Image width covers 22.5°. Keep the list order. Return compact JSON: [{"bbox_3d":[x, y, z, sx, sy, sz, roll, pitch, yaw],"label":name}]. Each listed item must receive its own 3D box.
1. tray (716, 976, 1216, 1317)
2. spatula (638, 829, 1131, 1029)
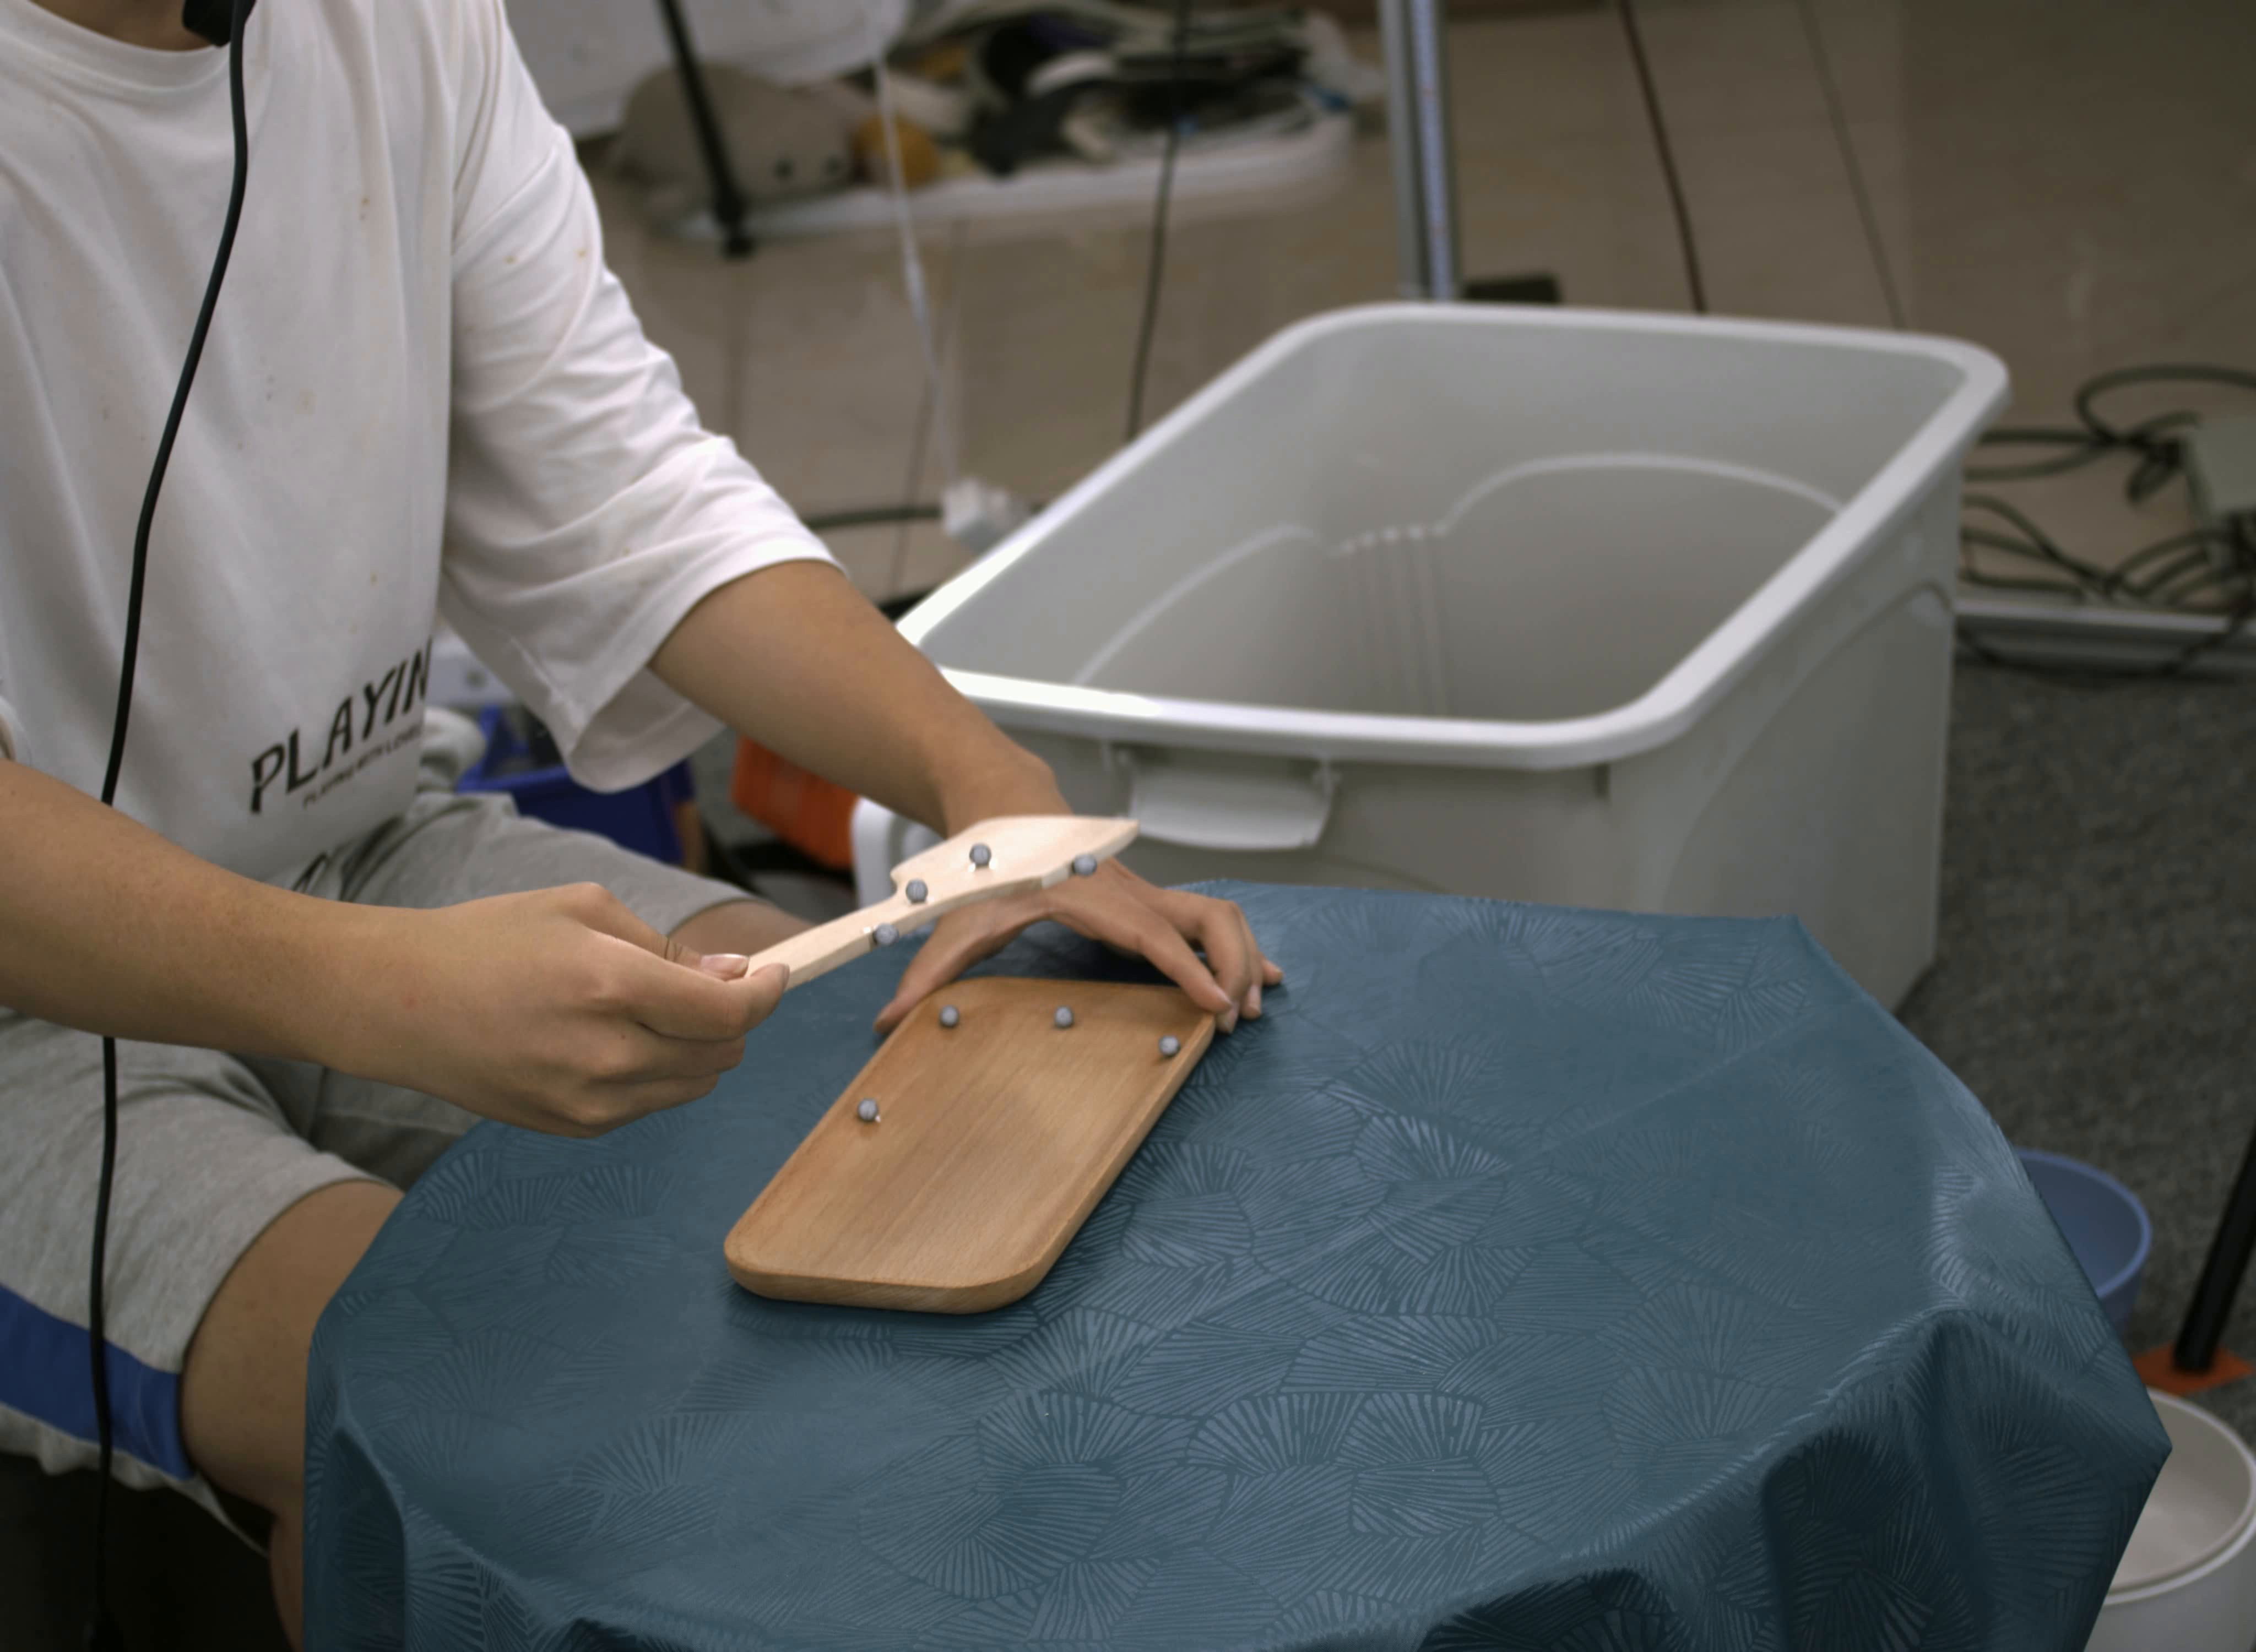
[{"bbox_3d":[-0.059,0.121,2.183,0.130,0.023,0.247,1,26,23],"label":"tray"},{"bbox_3d":[-0.091,0.036,2.051,0.072,0.011,0.291,2,13,27],"label":"spatula"}]
